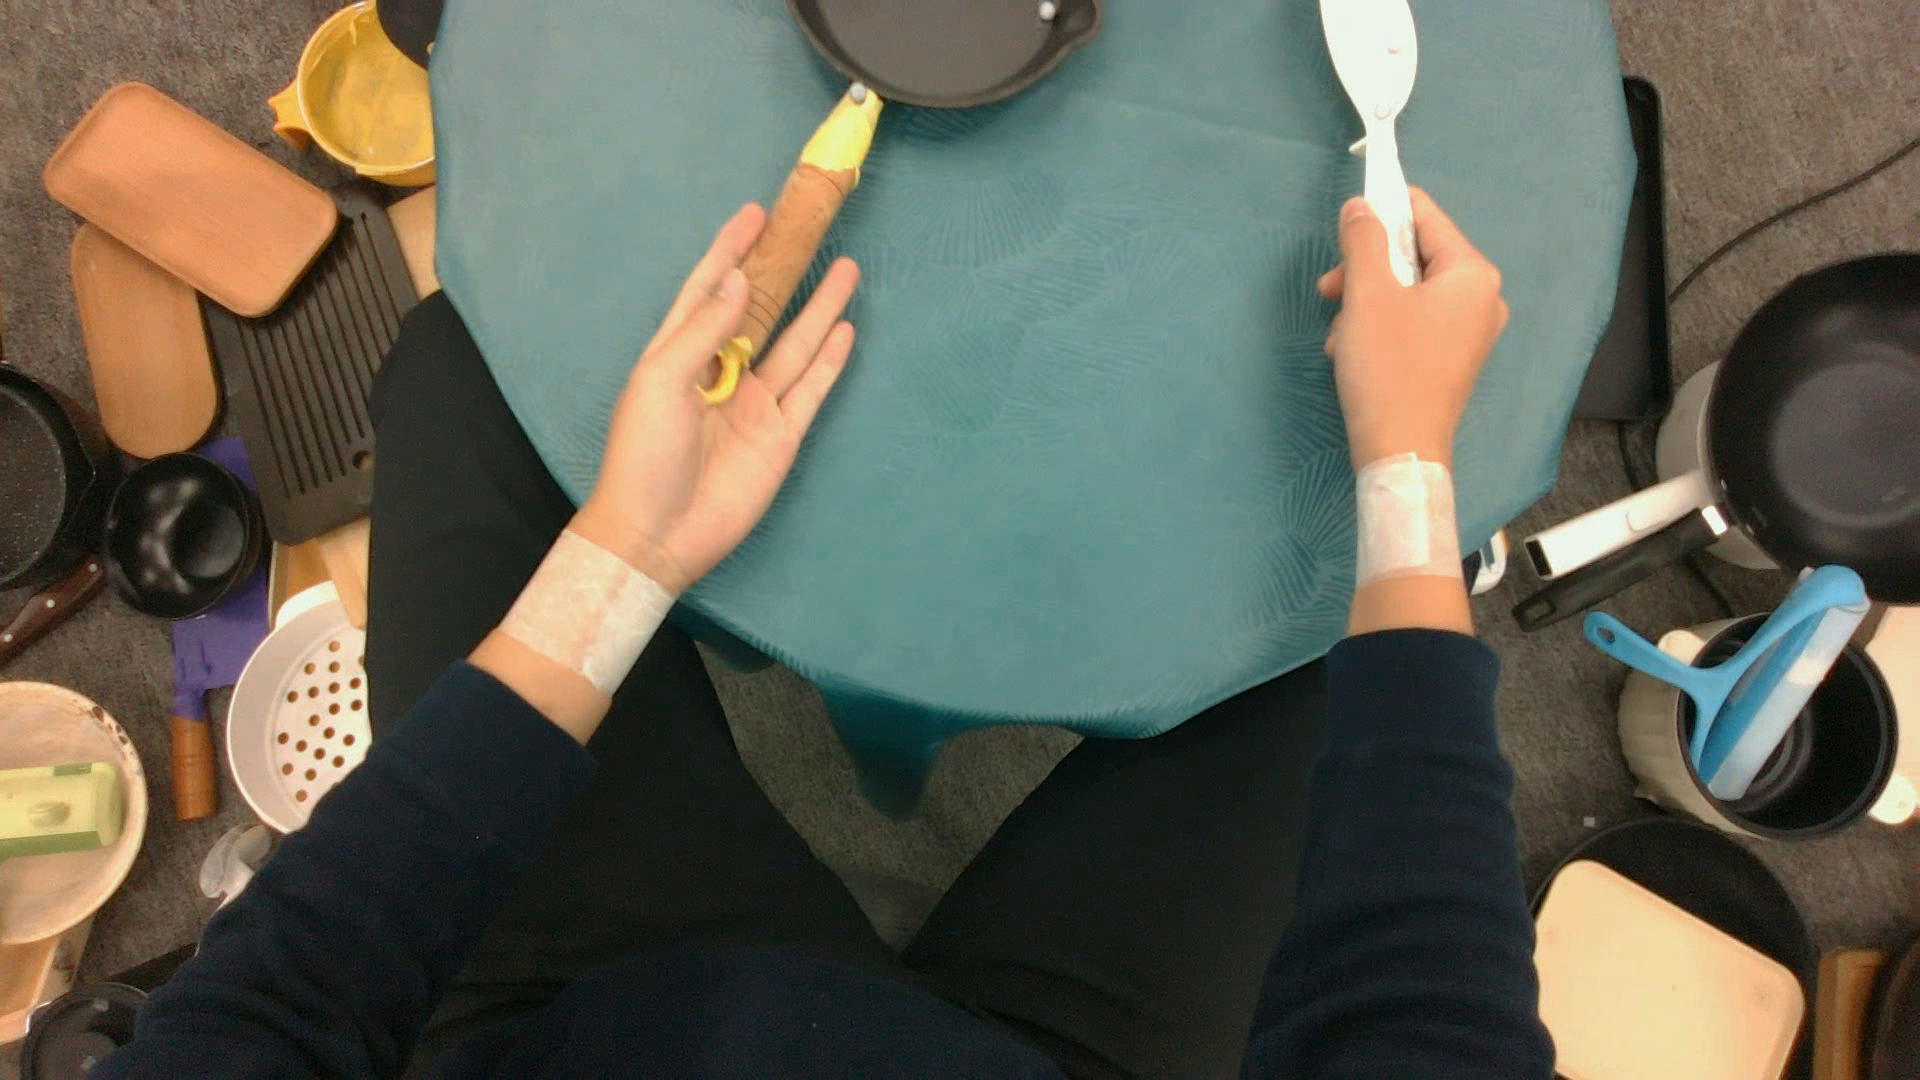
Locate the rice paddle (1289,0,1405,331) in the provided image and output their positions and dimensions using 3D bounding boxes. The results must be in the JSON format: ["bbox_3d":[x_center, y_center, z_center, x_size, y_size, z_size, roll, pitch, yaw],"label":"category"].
[{"bbox_3d":[0.191,-0.204,0.674,0.069,0.029,0.205,7,74,-31],"label":"rice paddle"}]

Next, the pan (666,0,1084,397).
[{"bbox_3d":[-0.056,-0.210,0.658,0.169,0.049,0.324,28,81,-1],"label":"pan"}]
